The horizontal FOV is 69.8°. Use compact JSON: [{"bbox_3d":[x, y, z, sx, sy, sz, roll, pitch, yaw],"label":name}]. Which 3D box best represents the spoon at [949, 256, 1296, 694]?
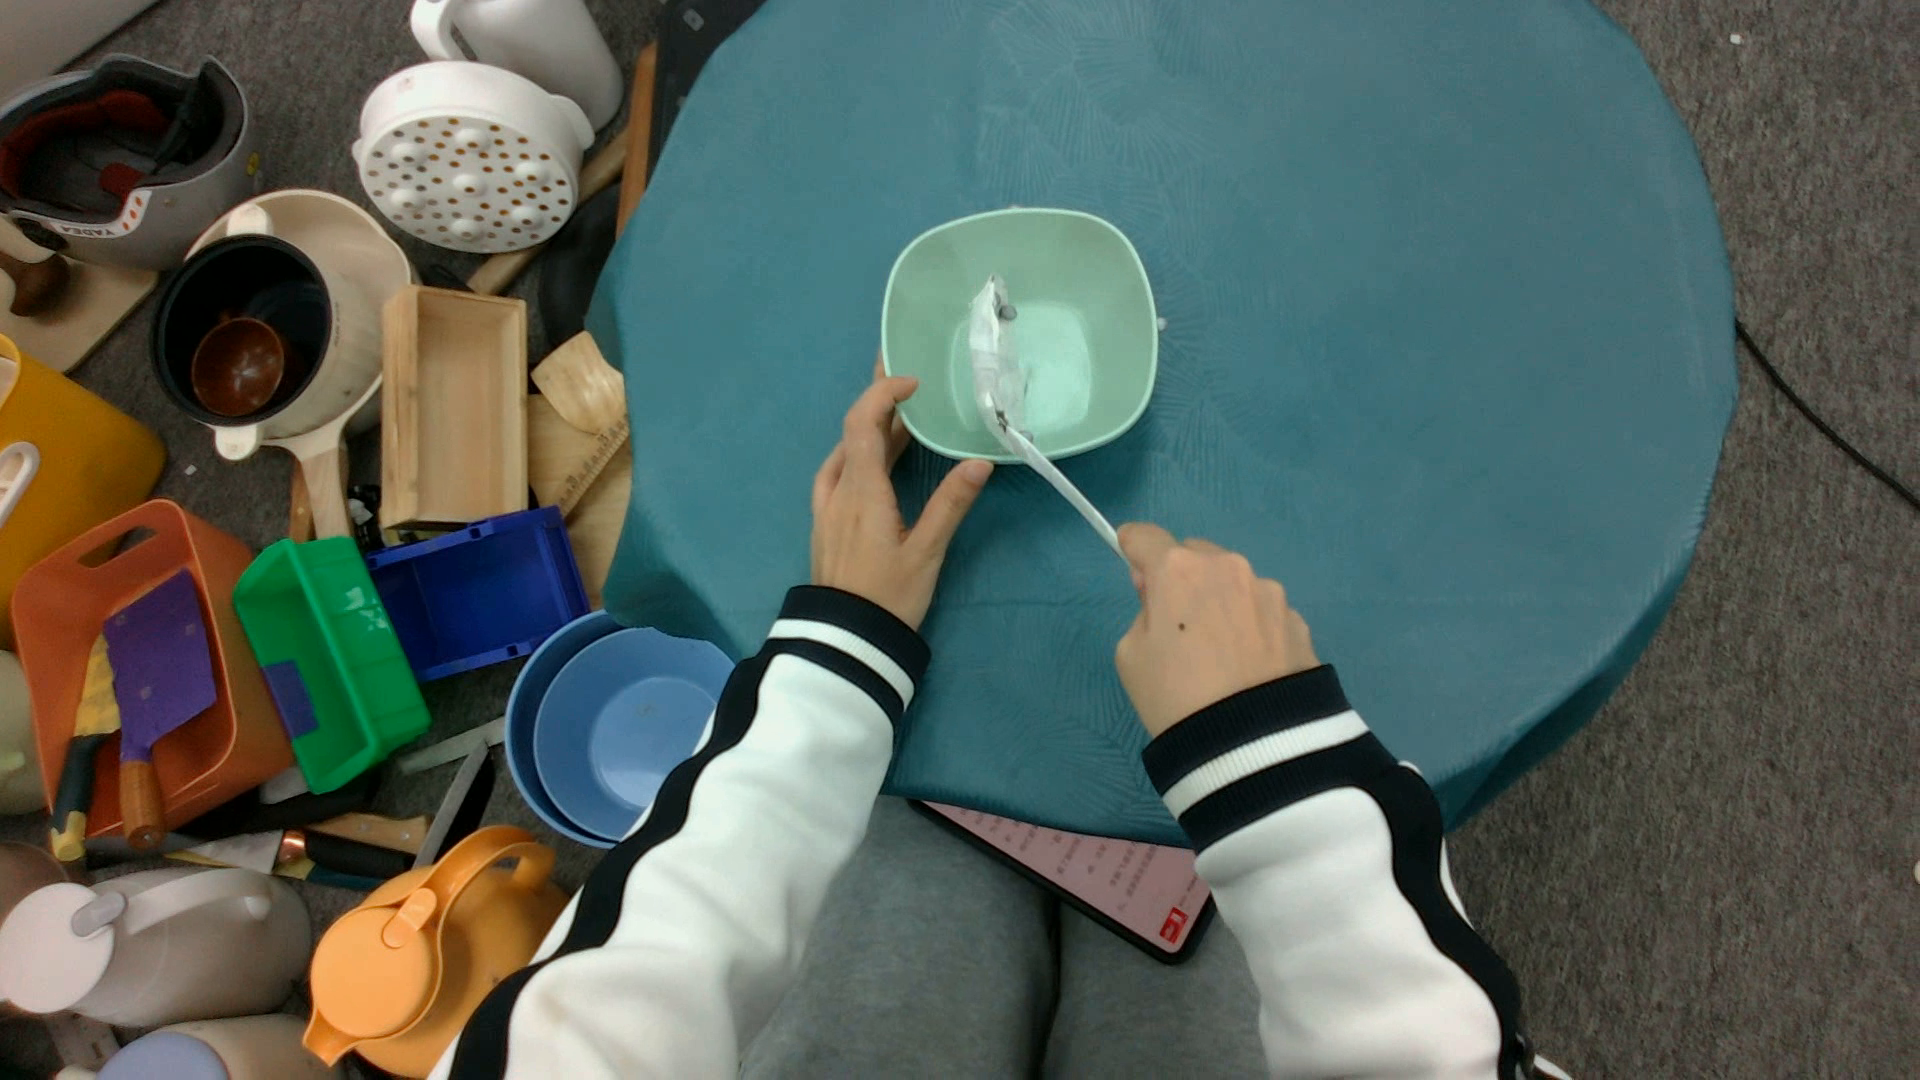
[{"bbox_3d":[0.069,-0.039,0.612,0.059,0.100,0.278,-37,51,-9],"label":"spoon"}]

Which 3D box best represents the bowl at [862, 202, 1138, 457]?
[{"bbox_3d":[0.021,-0.101,0.717,0.151,0.058,0.152,-1,73,2],"label":"bowl"}]
